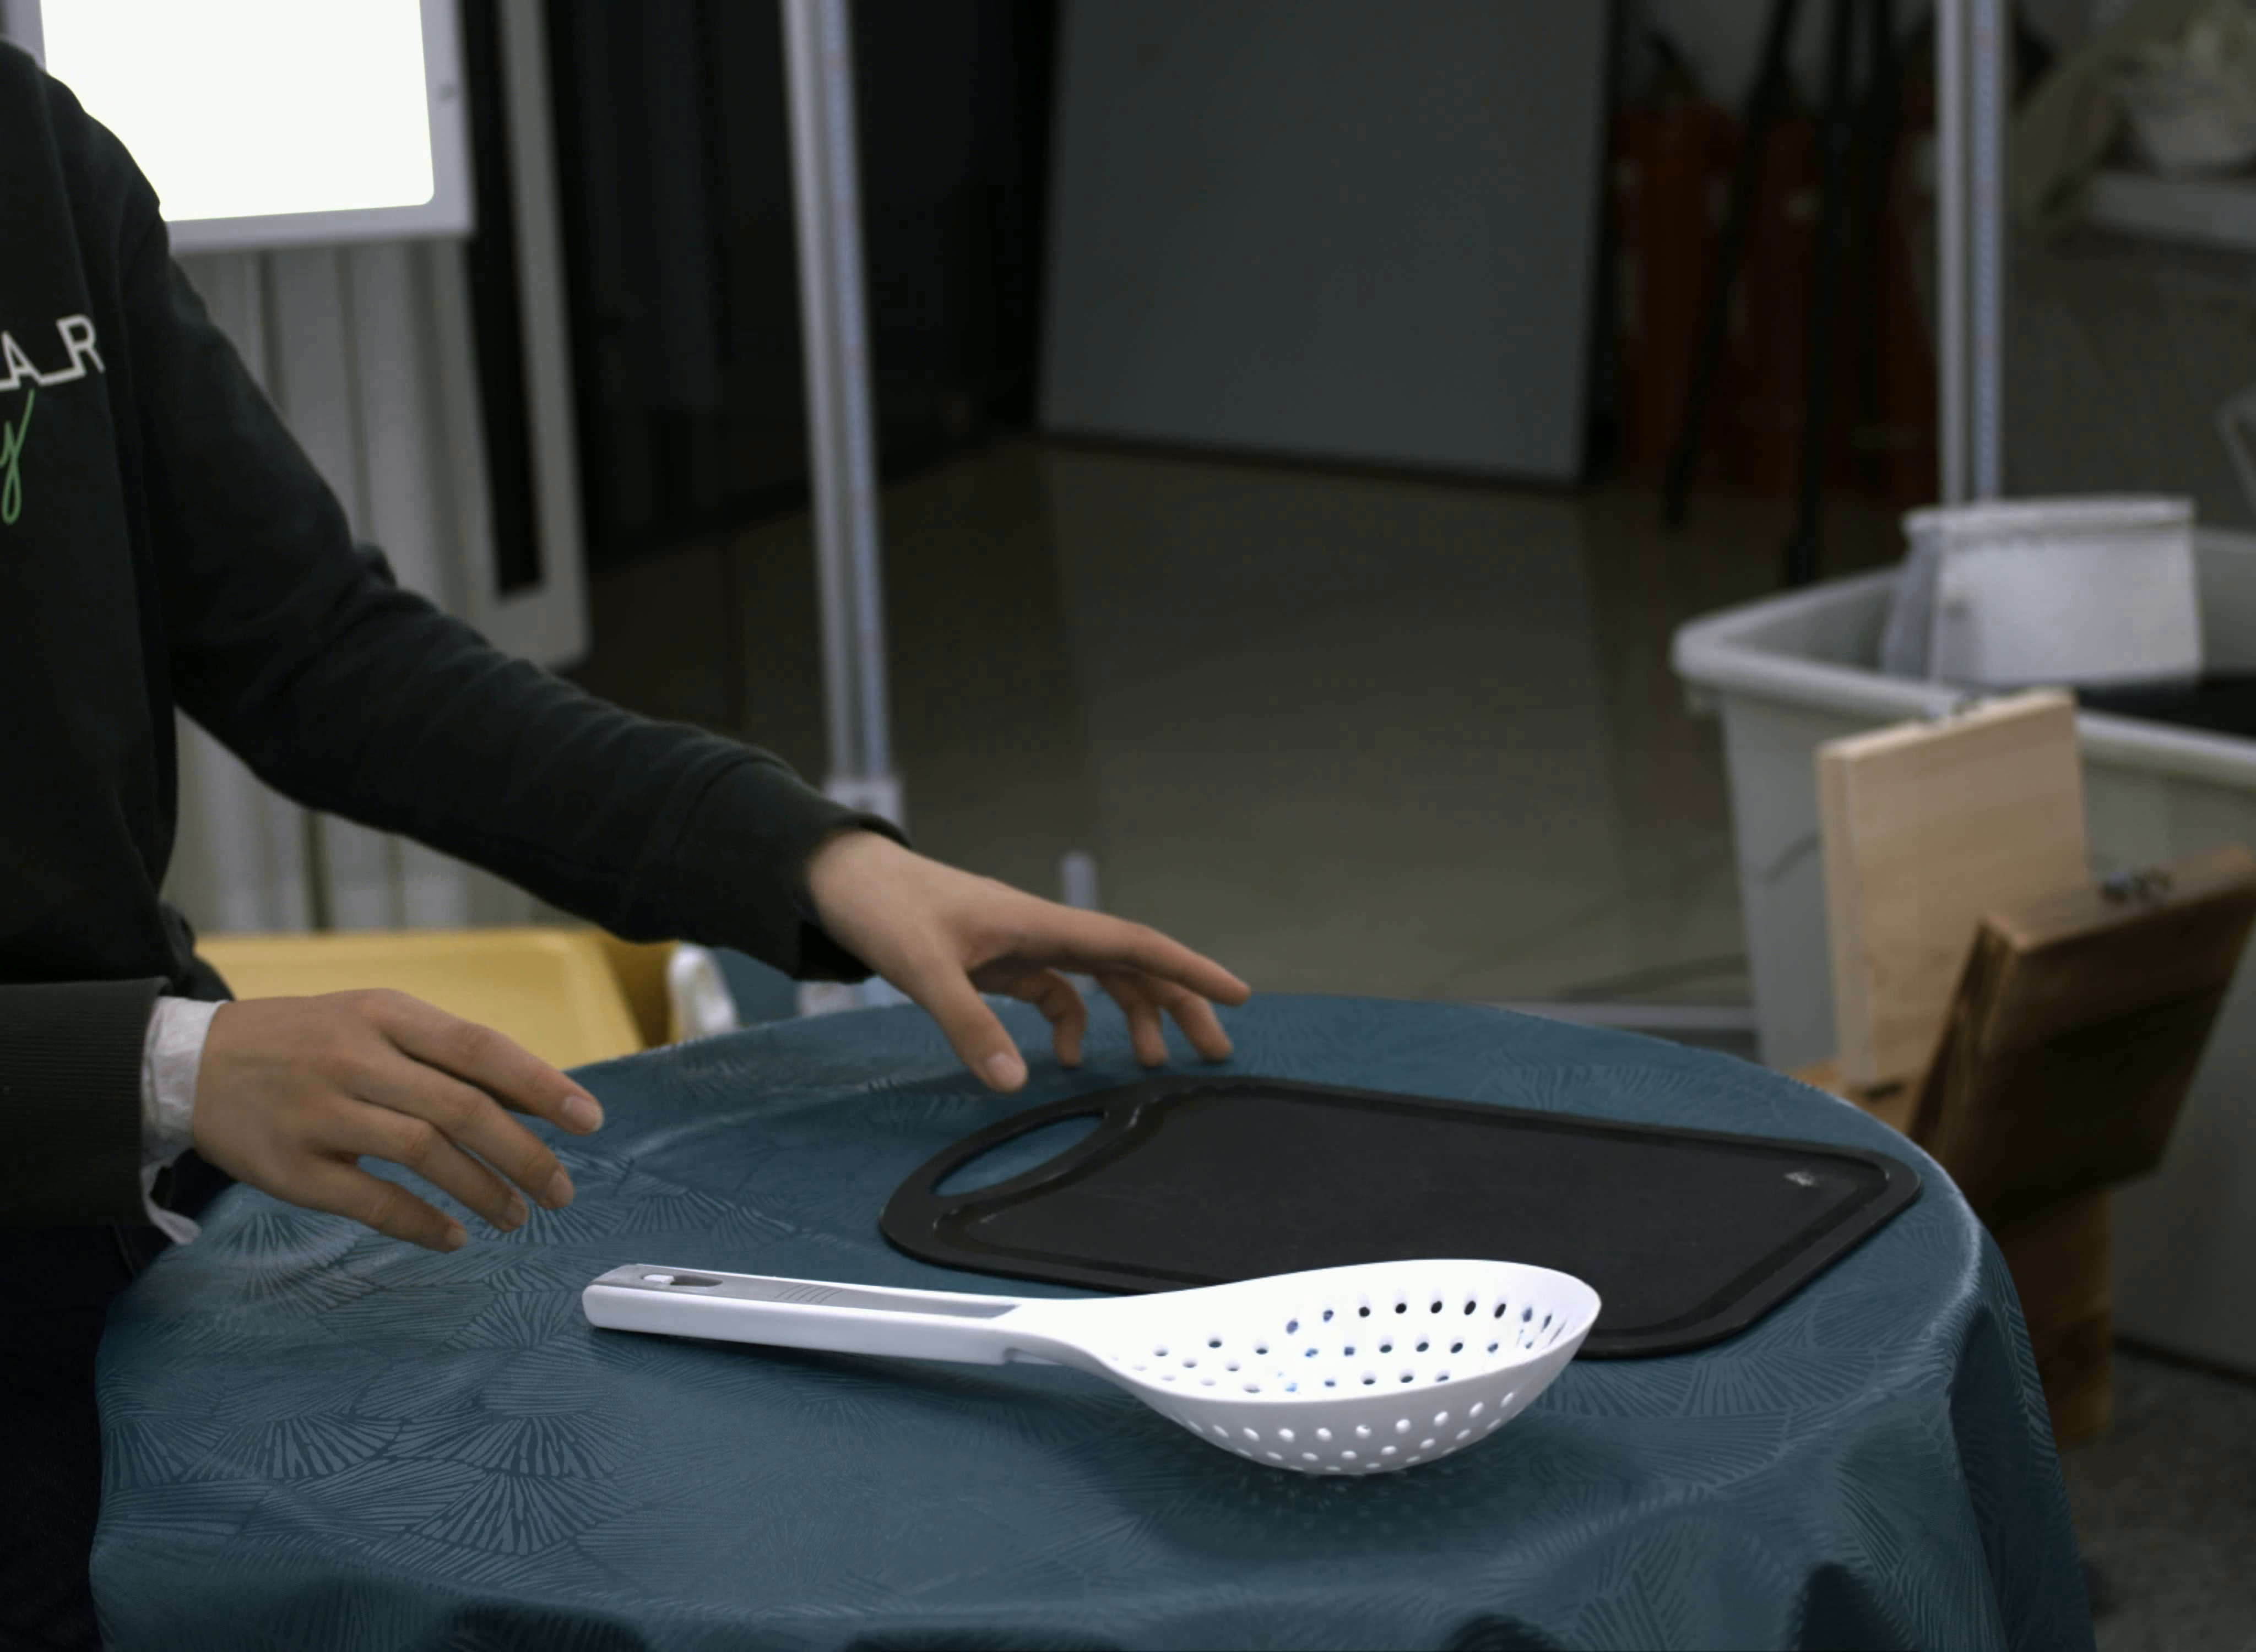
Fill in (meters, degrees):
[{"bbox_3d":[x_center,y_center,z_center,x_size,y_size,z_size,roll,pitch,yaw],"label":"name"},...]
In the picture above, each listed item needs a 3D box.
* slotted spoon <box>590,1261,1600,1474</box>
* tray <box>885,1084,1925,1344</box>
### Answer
[{"bbox_3d":[-0.020,0.148,1.575,0.352,0.046,0.133,5,14,36],"label":"slotted spoon"},{"bbox_3d":[0.081,0.121,1.736,0.327,0.010,0.207,4,16,33],"label":"tray"}]
